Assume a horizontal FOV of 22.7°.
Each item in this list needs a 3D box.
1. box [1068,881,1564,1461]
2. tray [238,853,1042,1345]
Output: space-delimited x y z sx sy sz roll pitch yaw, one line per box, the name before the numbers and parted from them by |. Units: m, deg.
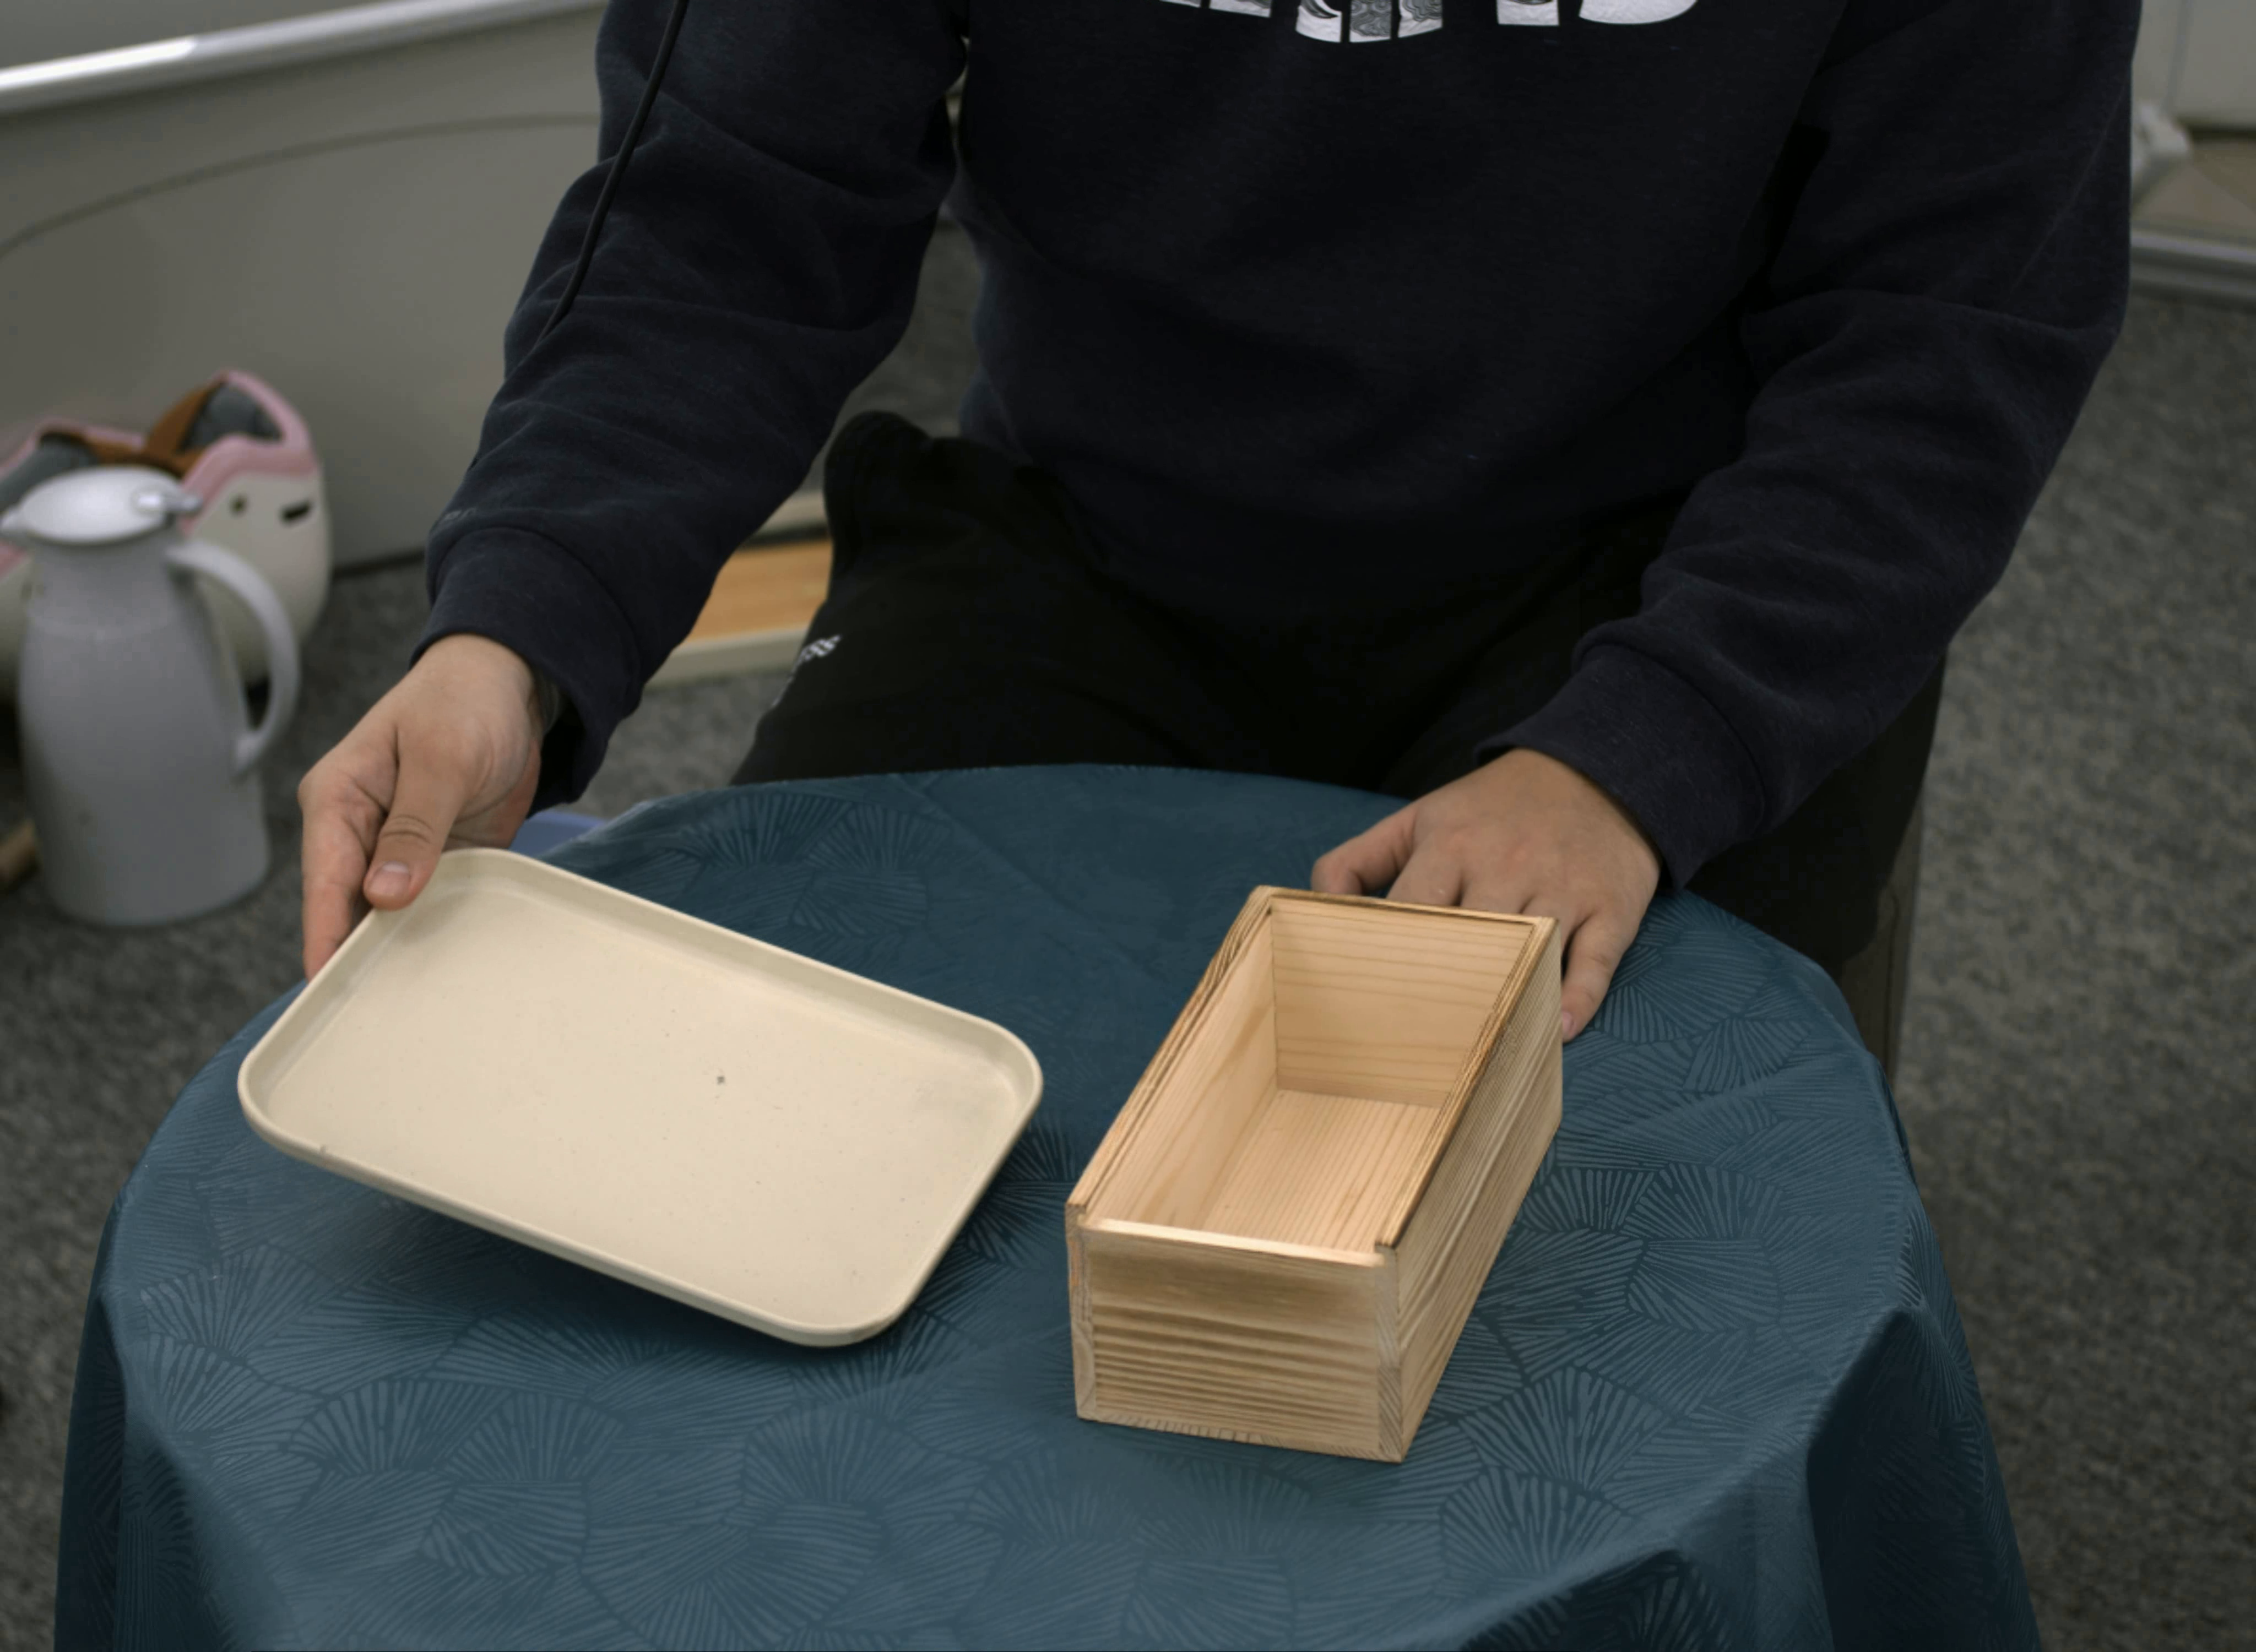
box | 0.064 0.107 1.802 0.107 0.079 0.215 6 28 16
tray | -0.160 0.090 1.860 0.239 0.017 0.174 18 38 13
